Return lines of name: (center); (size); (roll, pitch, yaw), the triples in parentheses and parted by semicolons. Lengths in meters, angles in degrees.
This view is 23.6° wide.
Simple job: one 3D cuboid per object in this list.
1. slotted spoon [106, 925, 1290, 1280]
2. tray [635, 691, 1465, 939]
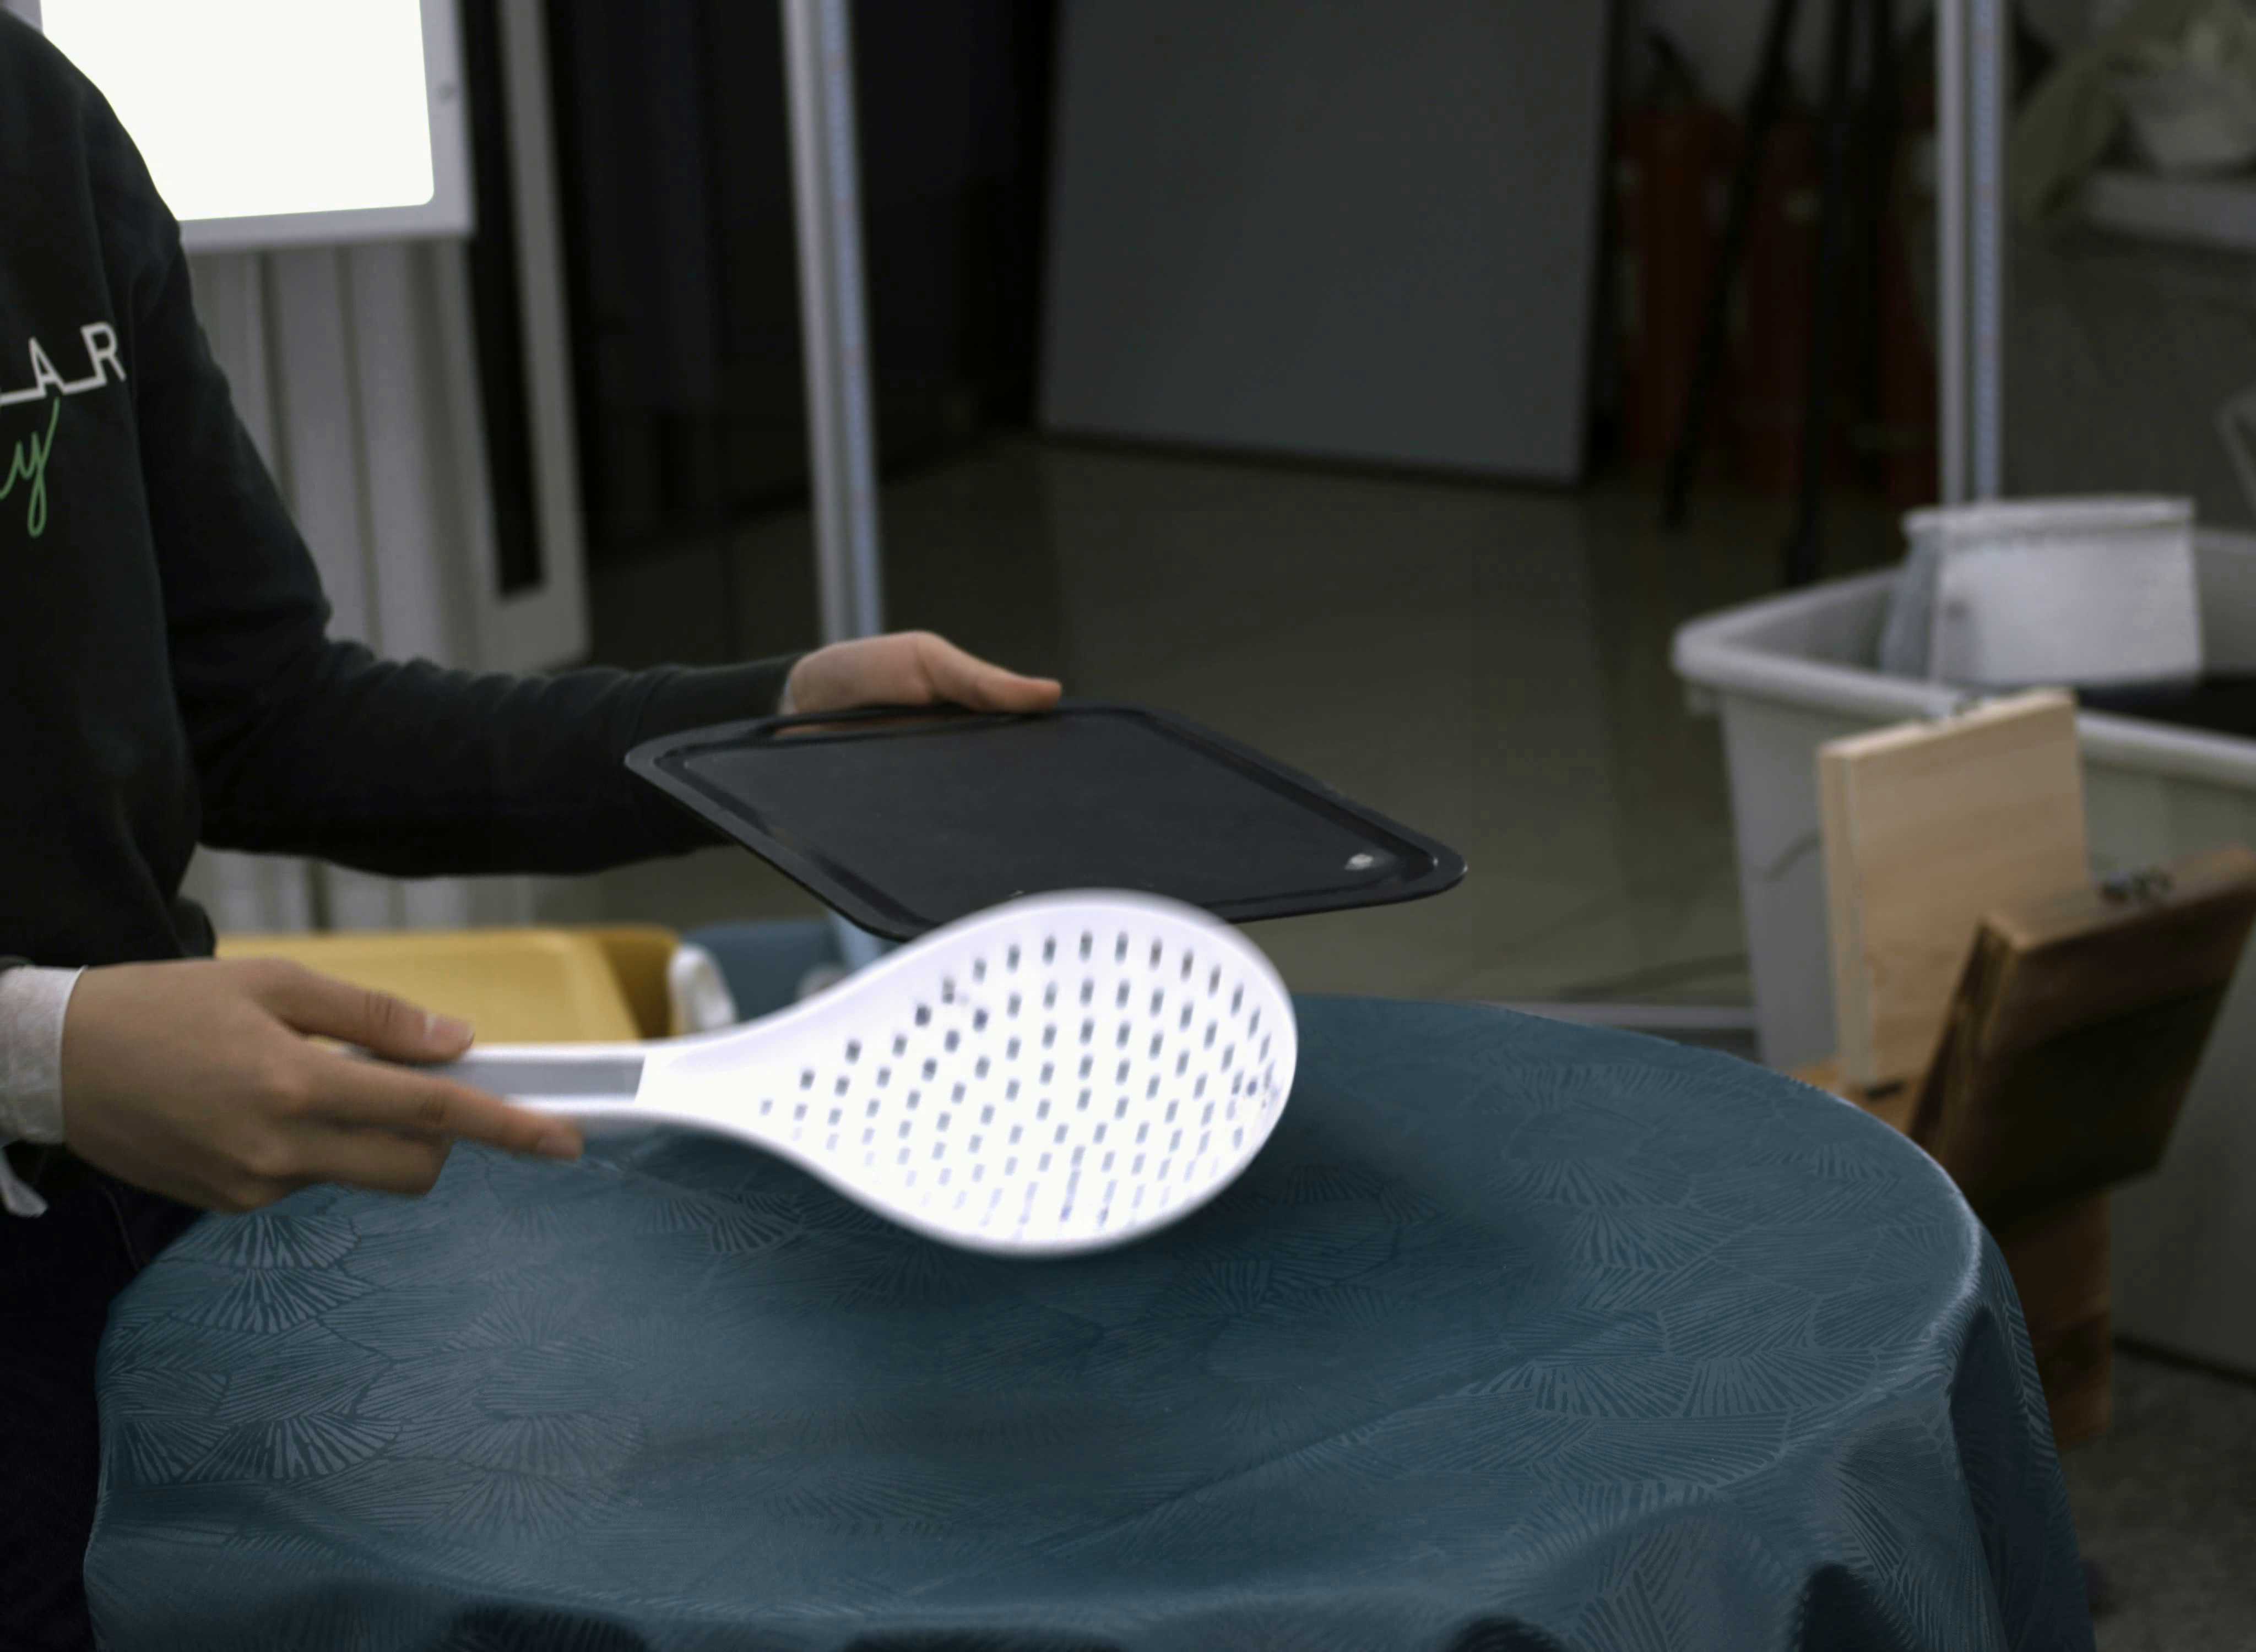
slotted spoon: (-0.125, 0.081, 1.552); (0.347, 0.046, 0.136); (3, 43, 8)
tray: (-0.036, -0.009, 1.813); (0.206, 0.010, 0.328); (-7, 15, -22)
